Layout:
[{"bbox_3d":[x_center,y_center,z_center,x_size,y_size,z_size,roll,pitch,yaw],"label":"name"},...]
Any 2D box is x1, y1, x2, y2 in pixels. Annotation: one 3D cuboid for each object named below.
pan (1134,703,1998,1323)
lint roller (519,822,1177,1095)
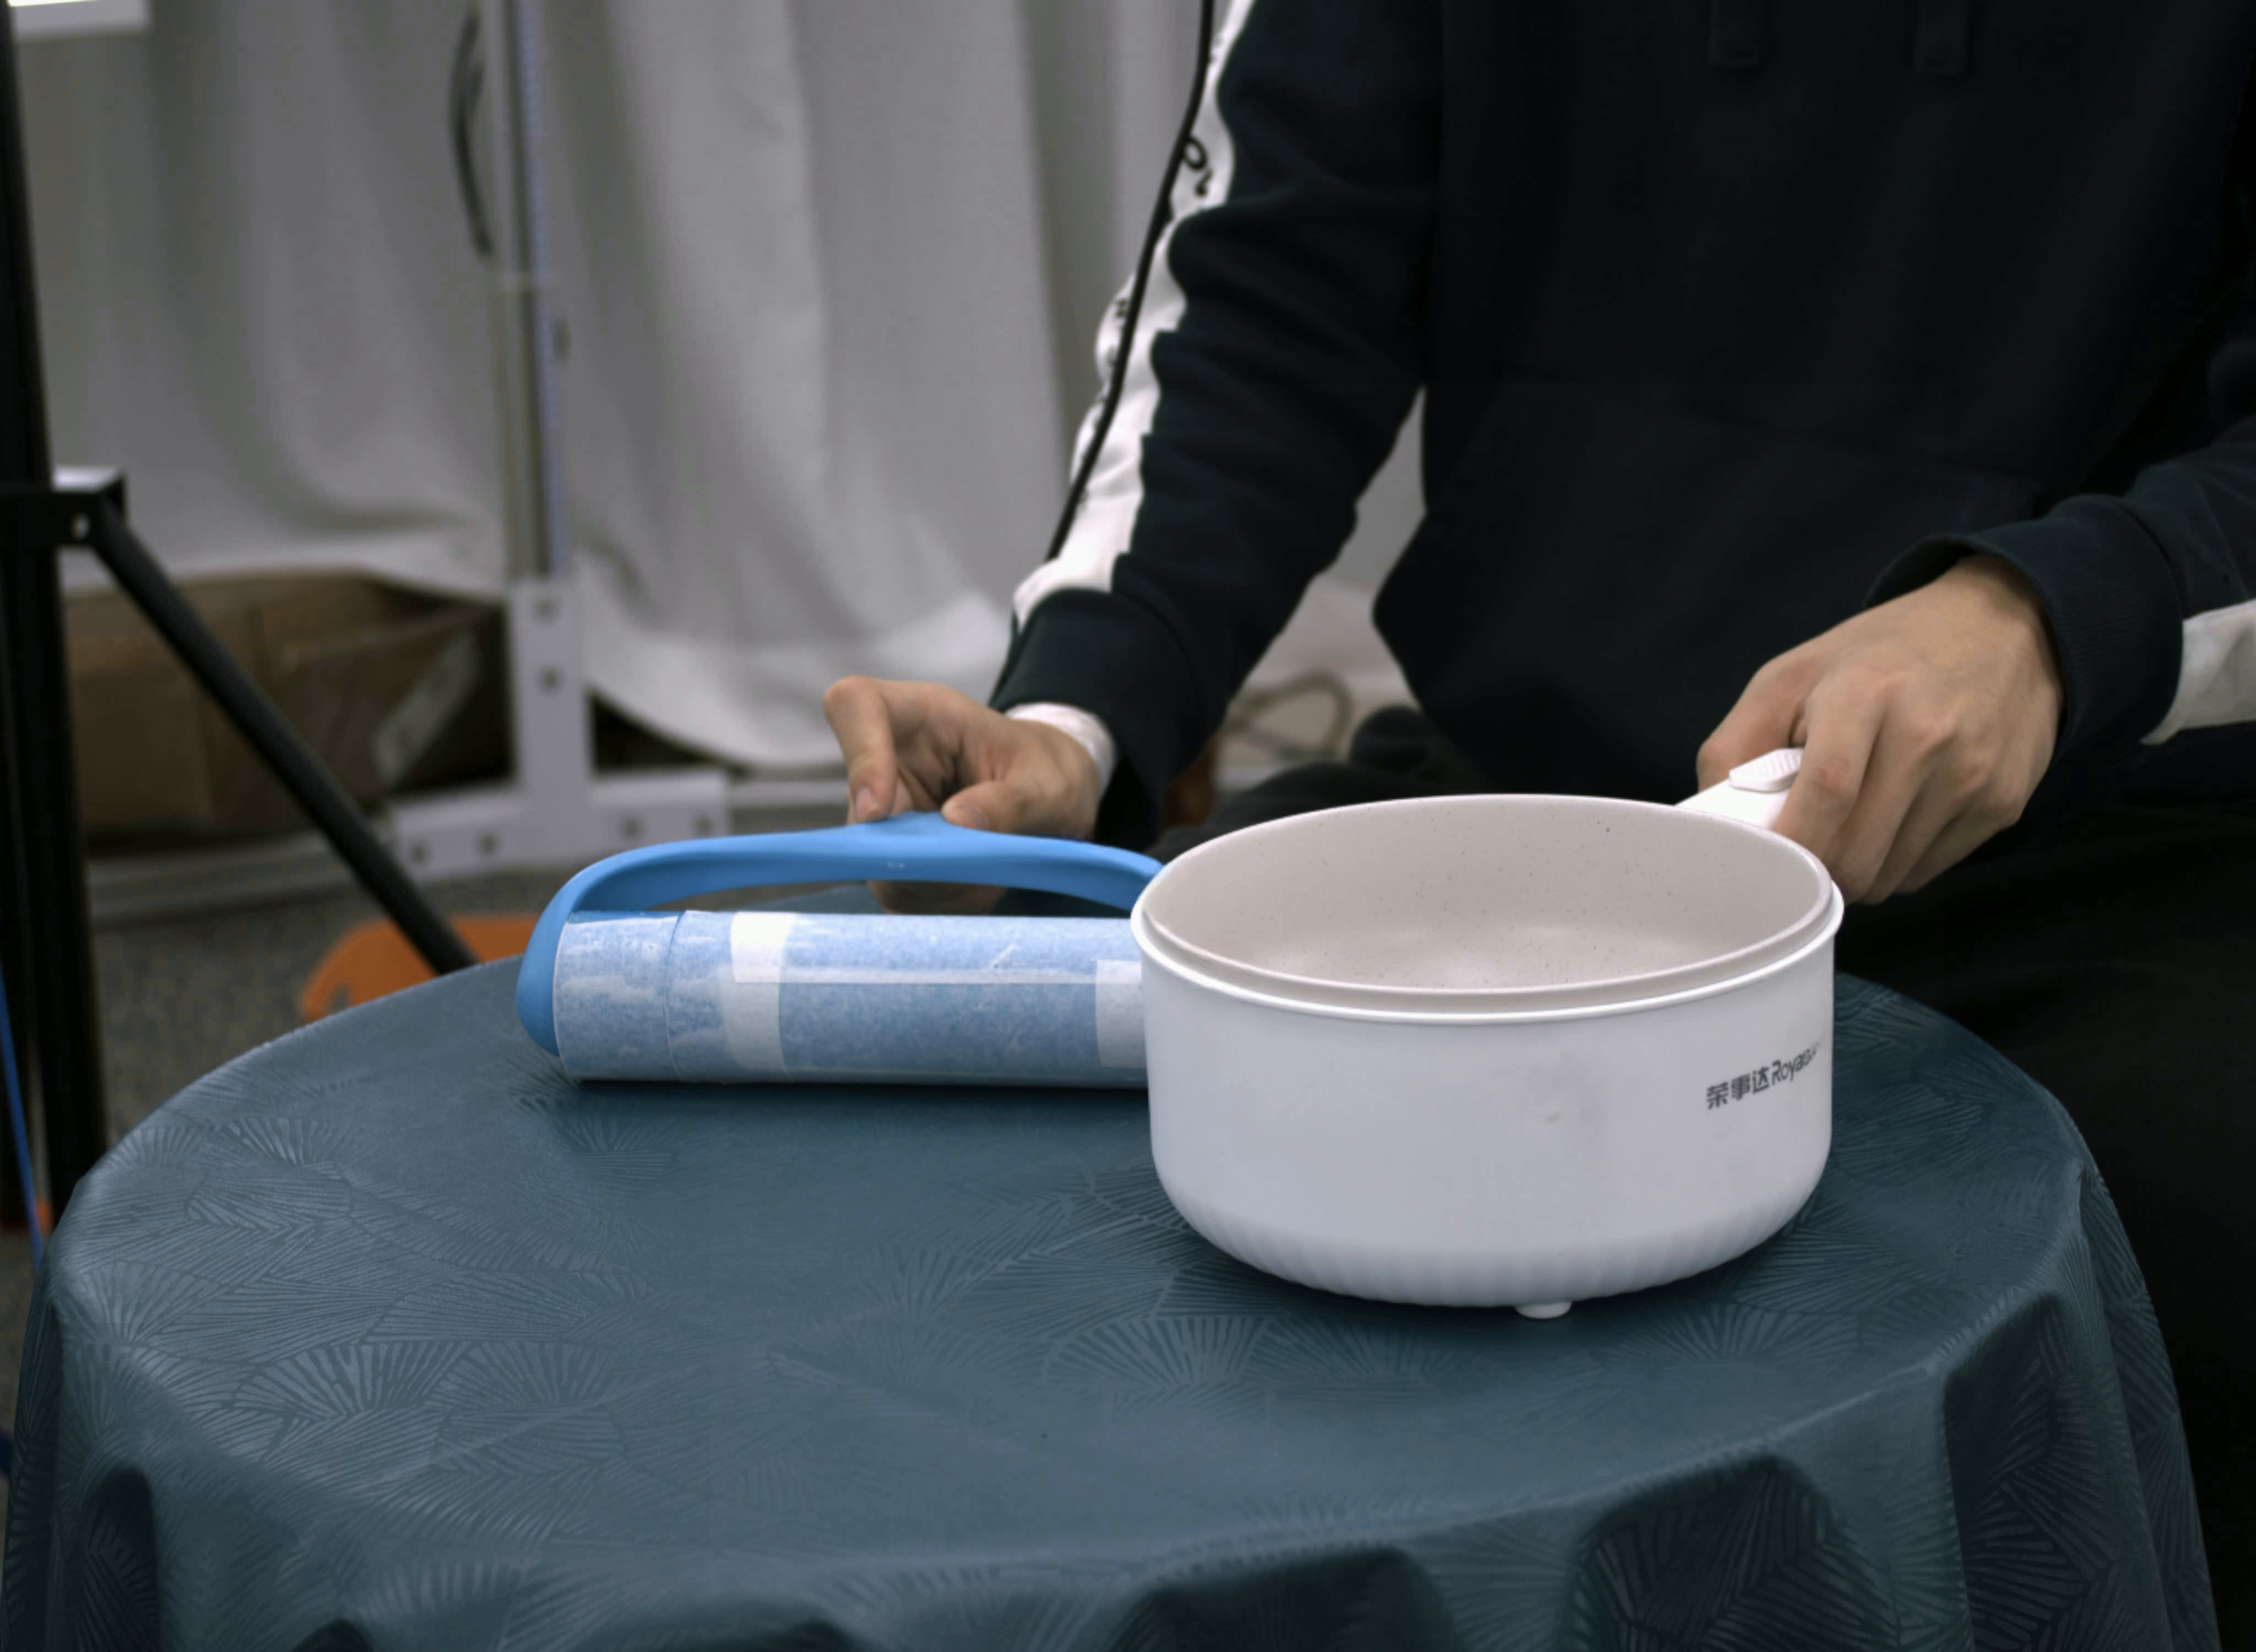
[{"bbox_3d":[0.150,0.049,1.558,0.205,0.102,0.347,9,19,38],"label":"pan"},{"bbox_3d":[-0.072,0.030,1.714,0.229,0.067,0.180,-2,24,10],"label":"lint roller"}]
